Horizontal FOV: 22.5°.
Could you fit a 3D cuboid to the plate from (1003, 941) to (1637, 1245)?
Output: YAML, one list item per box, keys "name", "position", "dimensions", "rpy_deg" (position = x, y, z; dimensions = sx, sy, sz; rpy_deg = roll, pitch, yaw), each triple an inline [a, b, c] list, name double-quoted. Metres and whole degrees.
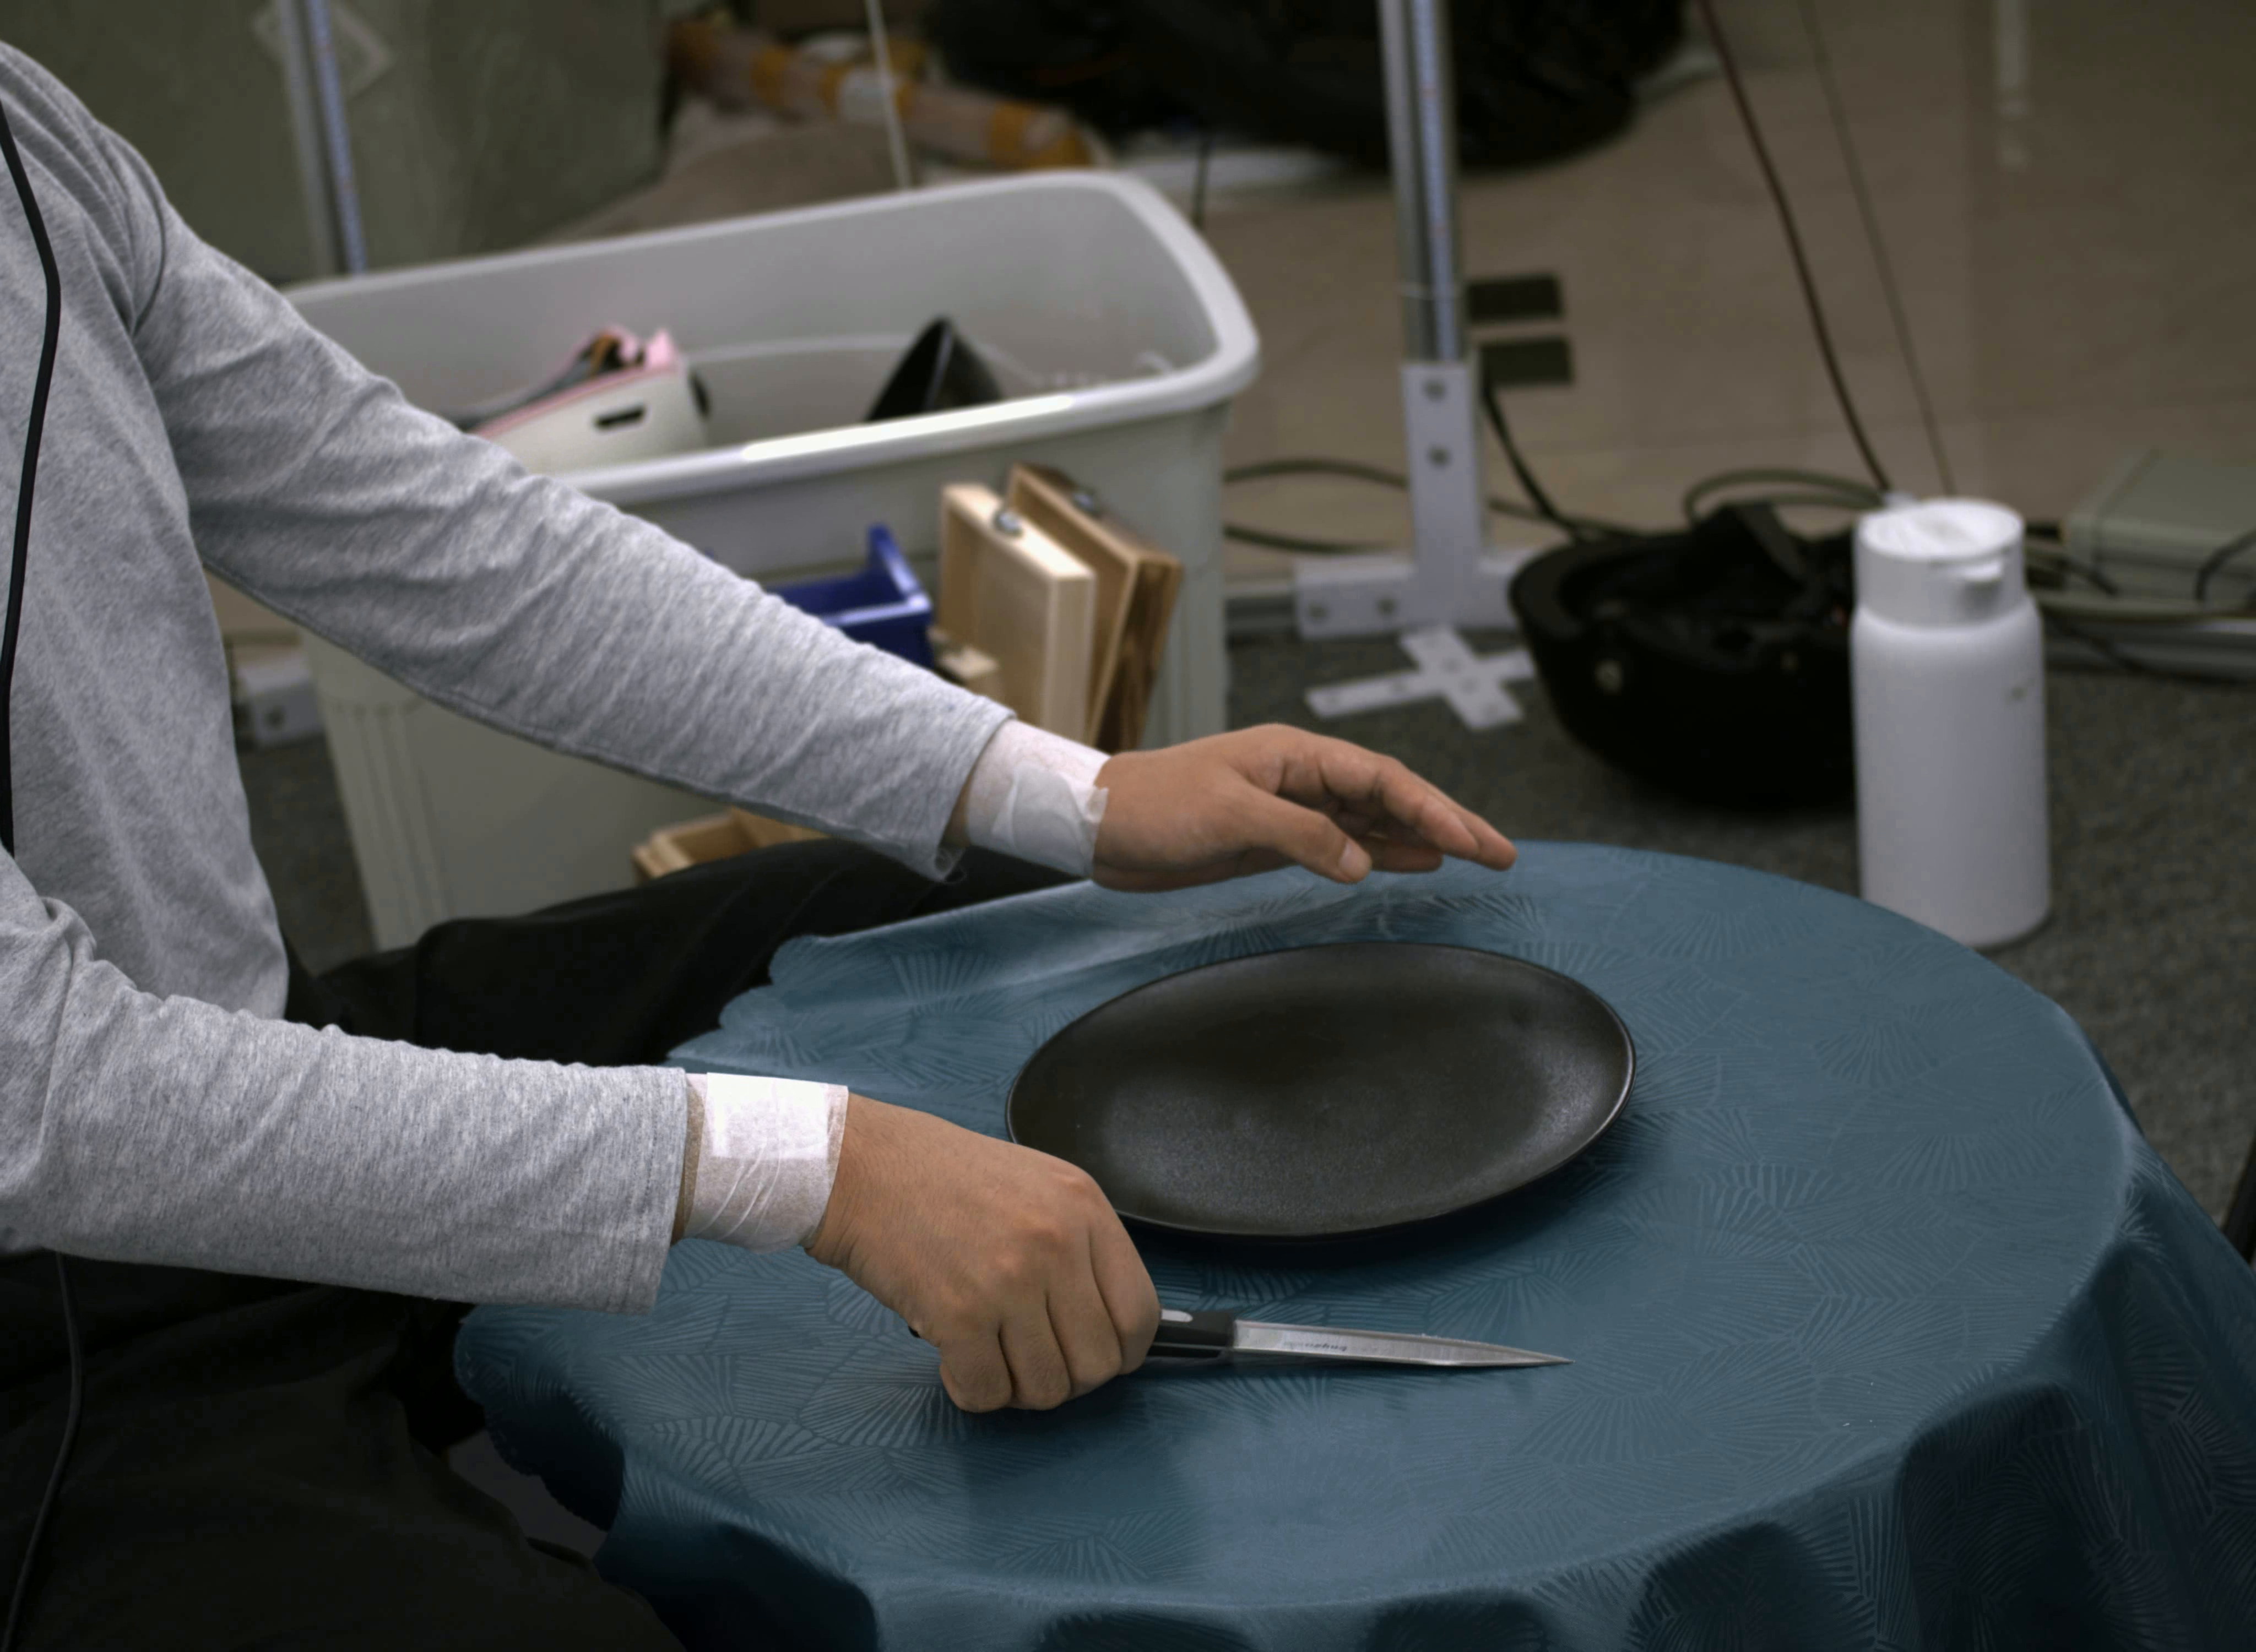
- name: "plate"
  position: [0.074, 0.107, 2.175]
  dimensions: [0.244, 0.024, 0.241]
  rpy_deg: [-5, 25, 3]

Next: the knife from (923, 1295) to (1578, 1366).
- name: "knife"
  position: [0.042, 0.183, 2.026]
  dimensions: [0.237, 0.016, 0.024]
  rpy_deg: [3, 26, 9]
